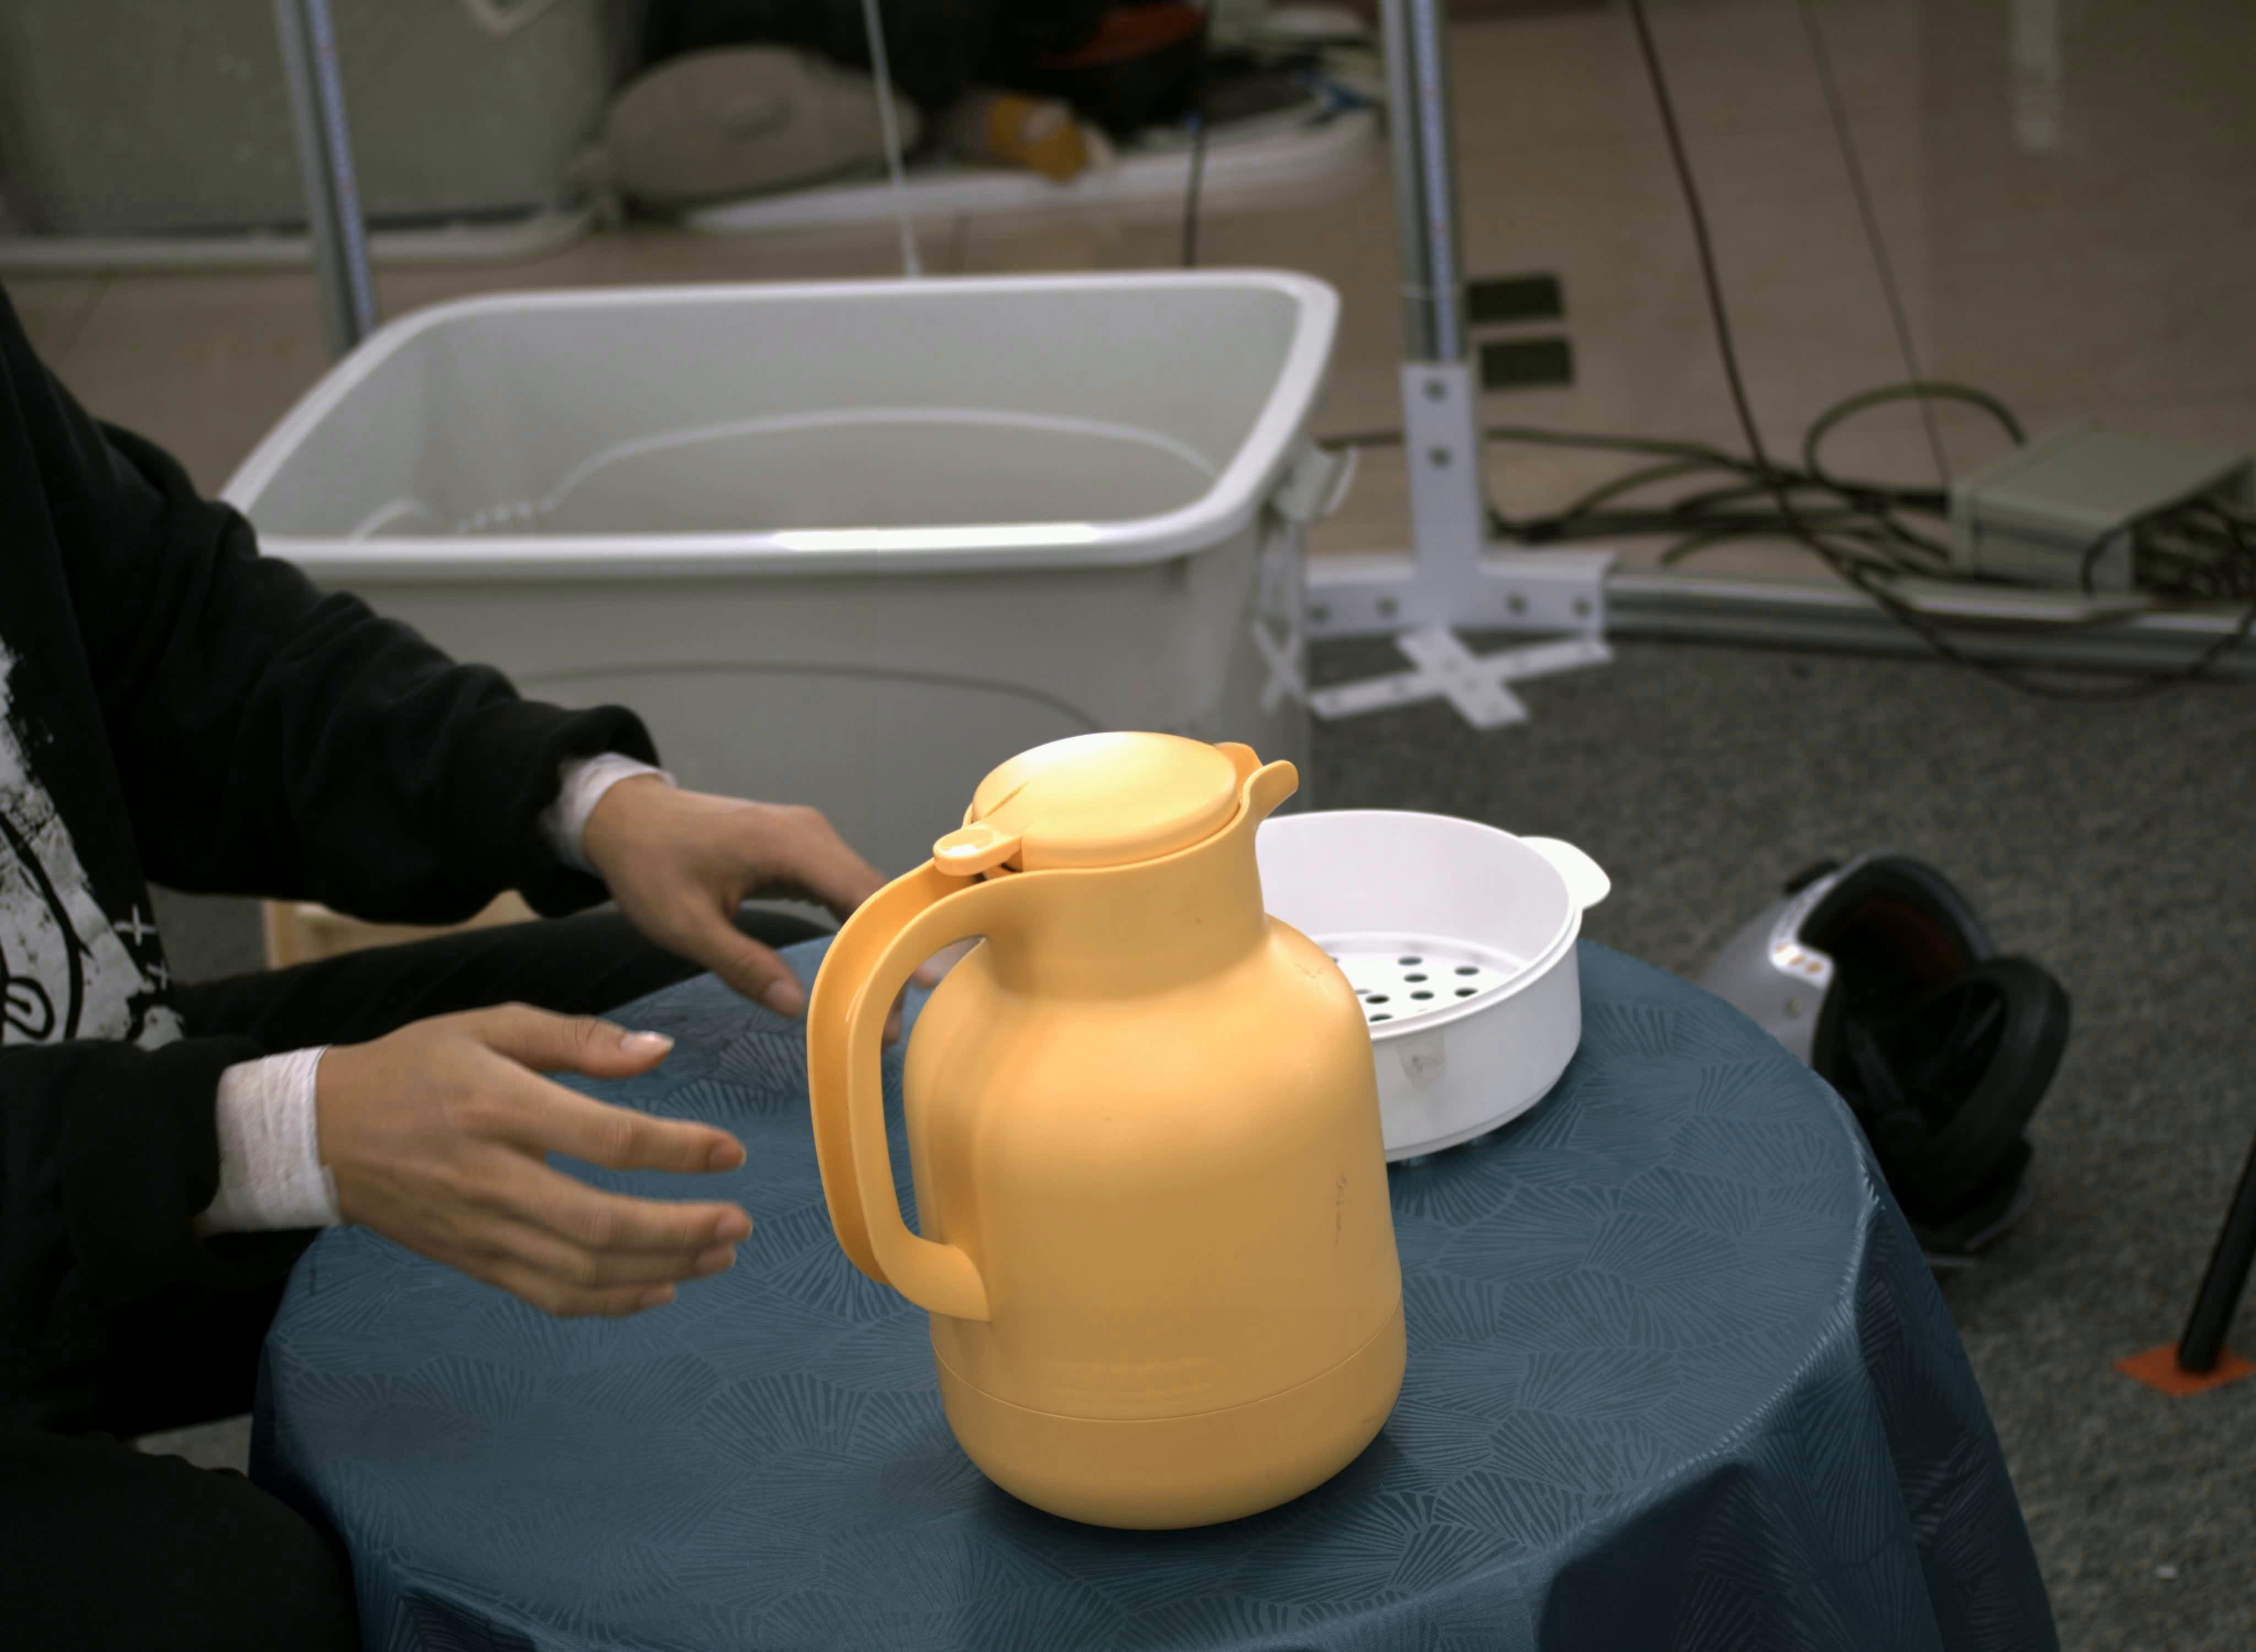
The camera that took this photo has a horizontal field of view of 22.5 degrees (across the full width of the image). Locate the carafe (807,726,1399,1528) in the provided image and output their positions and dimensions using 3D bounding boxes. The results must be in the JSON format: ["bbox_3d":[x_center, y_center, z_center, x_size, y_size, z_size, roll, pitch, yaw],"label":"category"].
[{"bbox_3d":[-0.013,0.103,1.914,0.201,0.264,0.162,-19,26,-29],"label":"carafe"}]

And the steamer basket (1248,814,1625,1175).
[{"bbox_3d":[0.084,0.066,2.211,0.230,0.070,0.199,-13,26,-15],"label":"steamer basket"}]
